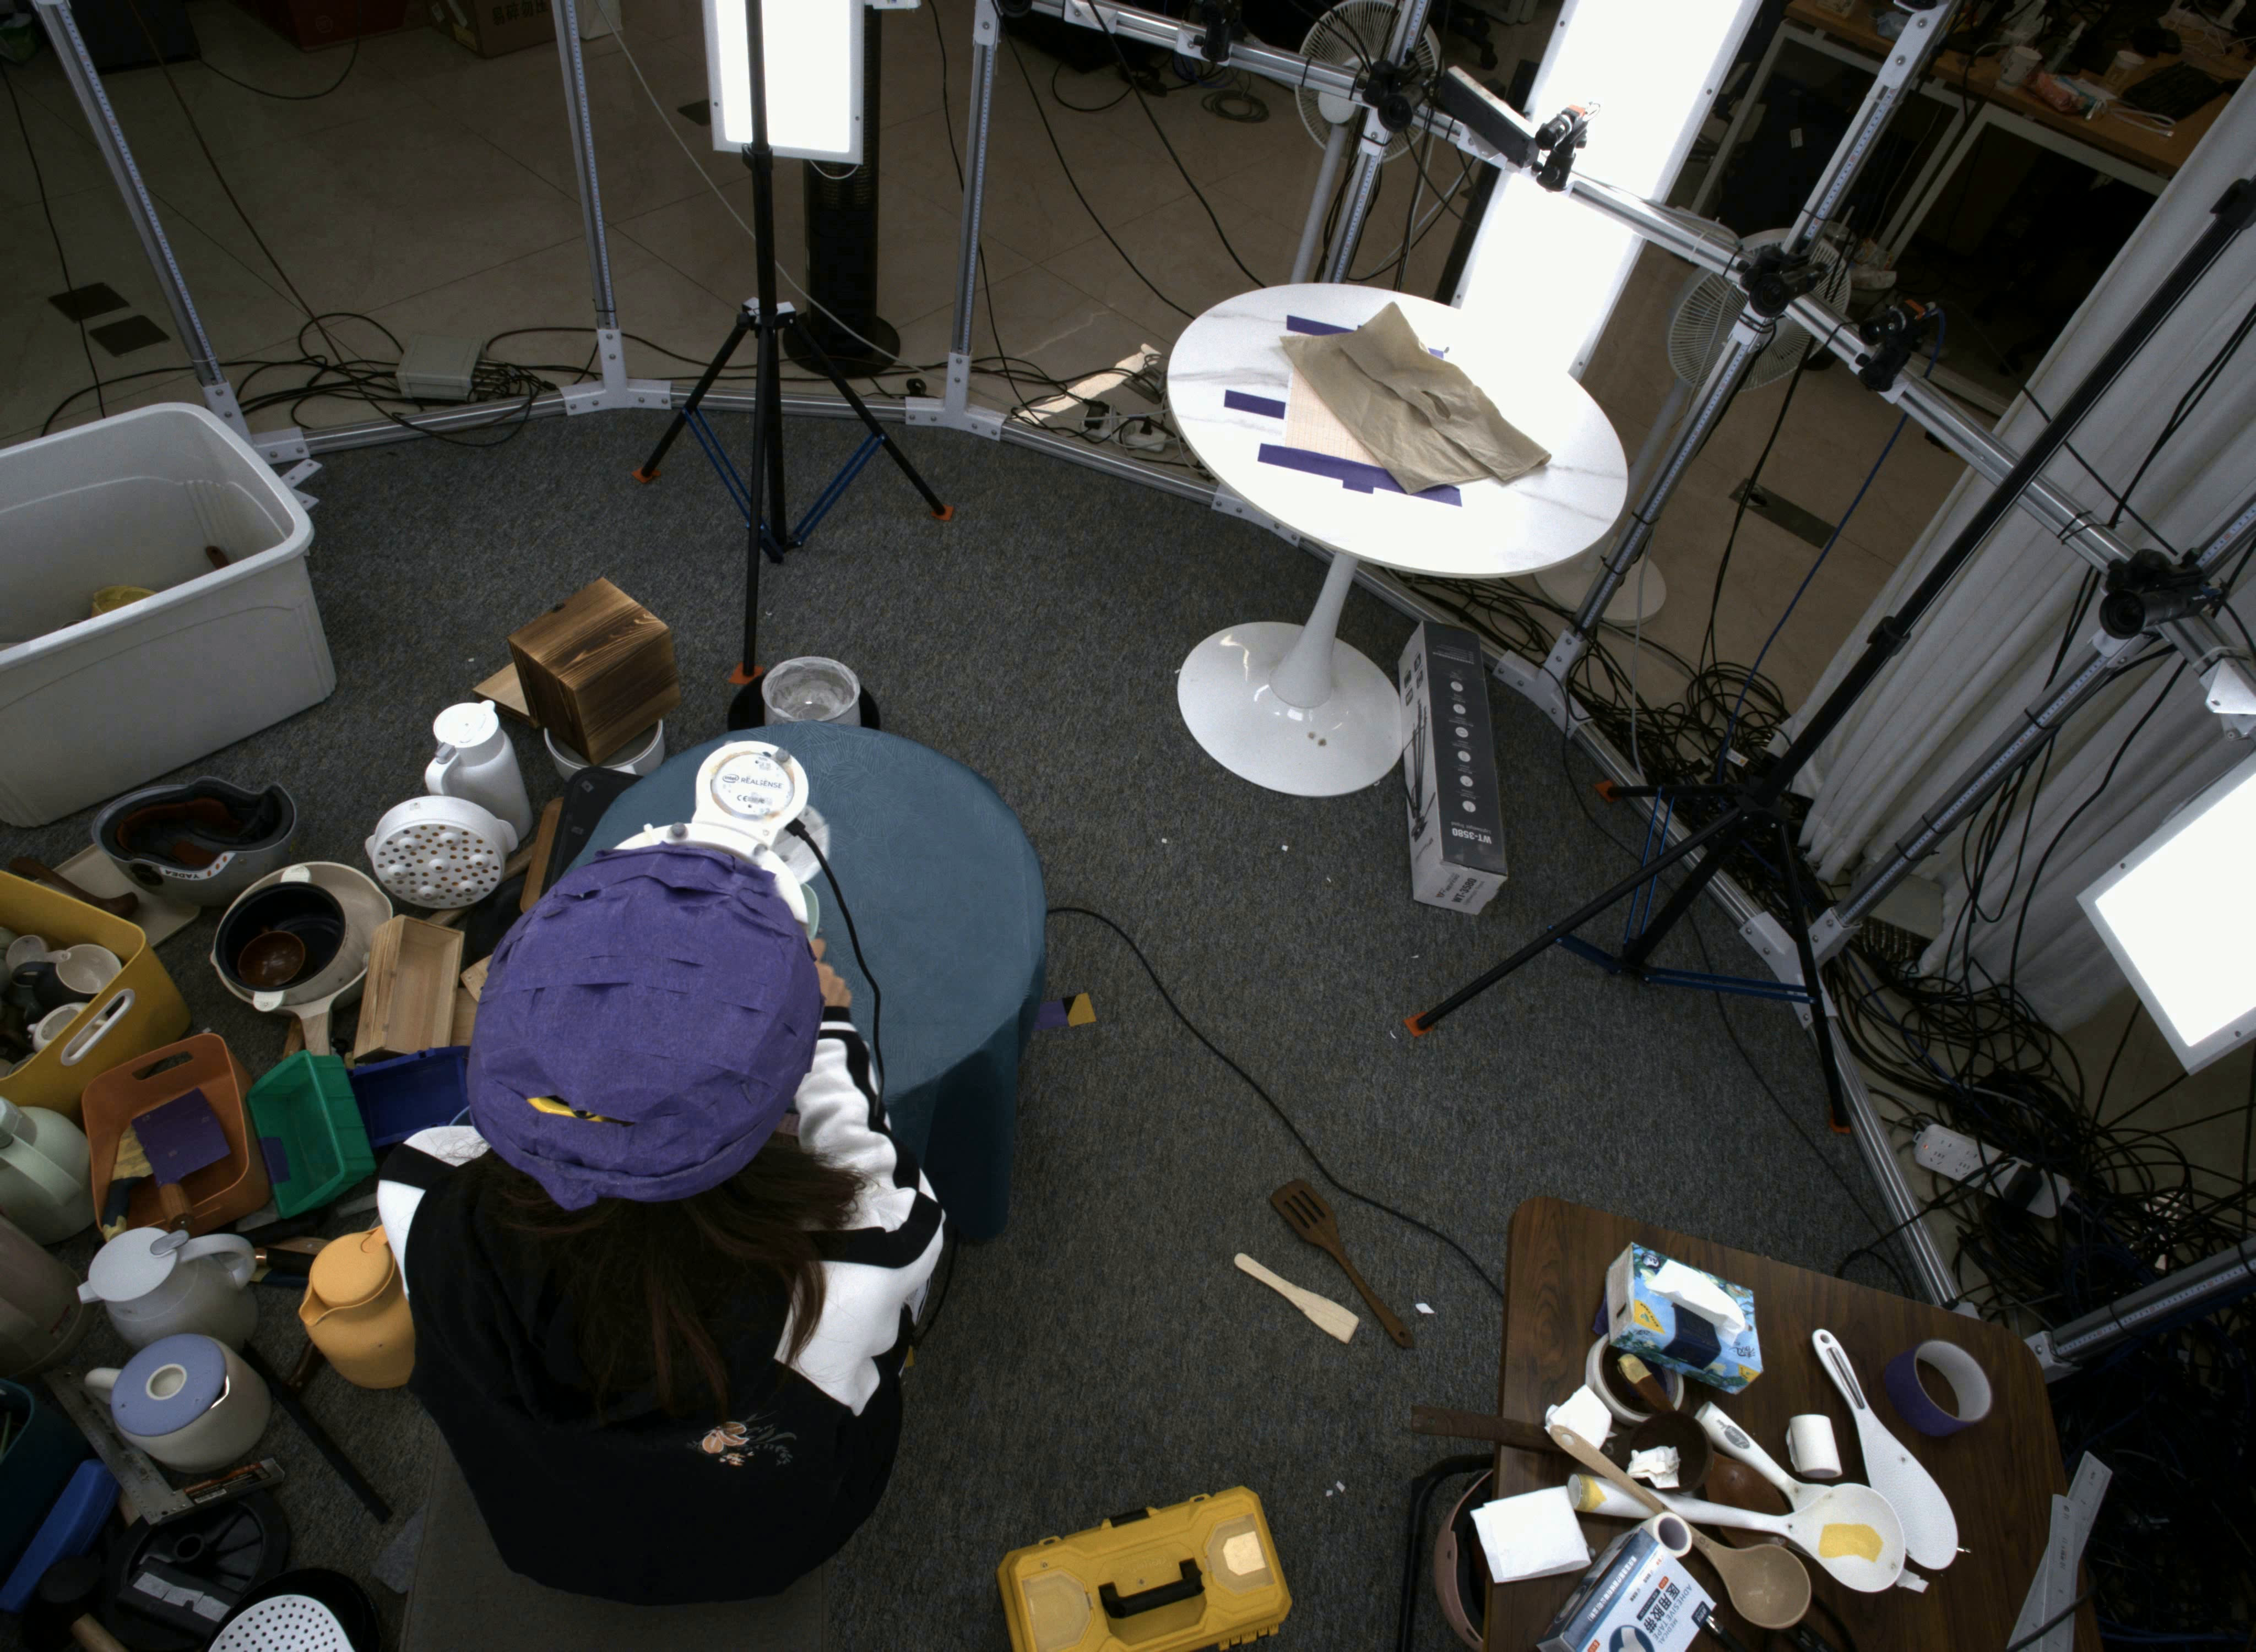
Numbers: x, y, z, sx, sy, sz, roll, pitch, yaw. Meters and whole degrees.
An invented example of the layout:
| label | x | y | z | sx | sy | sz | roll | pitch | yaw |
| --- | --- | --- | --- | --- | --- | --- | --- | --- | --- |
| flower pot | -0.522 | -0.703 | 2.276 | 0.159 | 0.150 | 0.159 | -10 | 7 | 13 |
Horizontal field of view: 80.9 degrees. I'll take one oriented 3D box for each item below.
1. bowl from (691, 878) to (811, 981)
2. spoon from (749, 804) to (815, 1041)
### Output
| label | x | y | z | sx | sy | sz | roll | pitch | yaw |
| --- | --- | --- | --- | --- | --- | --- | --- | --- | --- |
| bowl | -0.457 | 0.134 | 1.577 | 0.151 | 0.060 | 0.149 | 8 | 52 | -8 |
| spoon | -0.370 | 0.101 | 1.448 | 0.104 | 0.059 | 0.271 | 24 | 39 | -53 |
